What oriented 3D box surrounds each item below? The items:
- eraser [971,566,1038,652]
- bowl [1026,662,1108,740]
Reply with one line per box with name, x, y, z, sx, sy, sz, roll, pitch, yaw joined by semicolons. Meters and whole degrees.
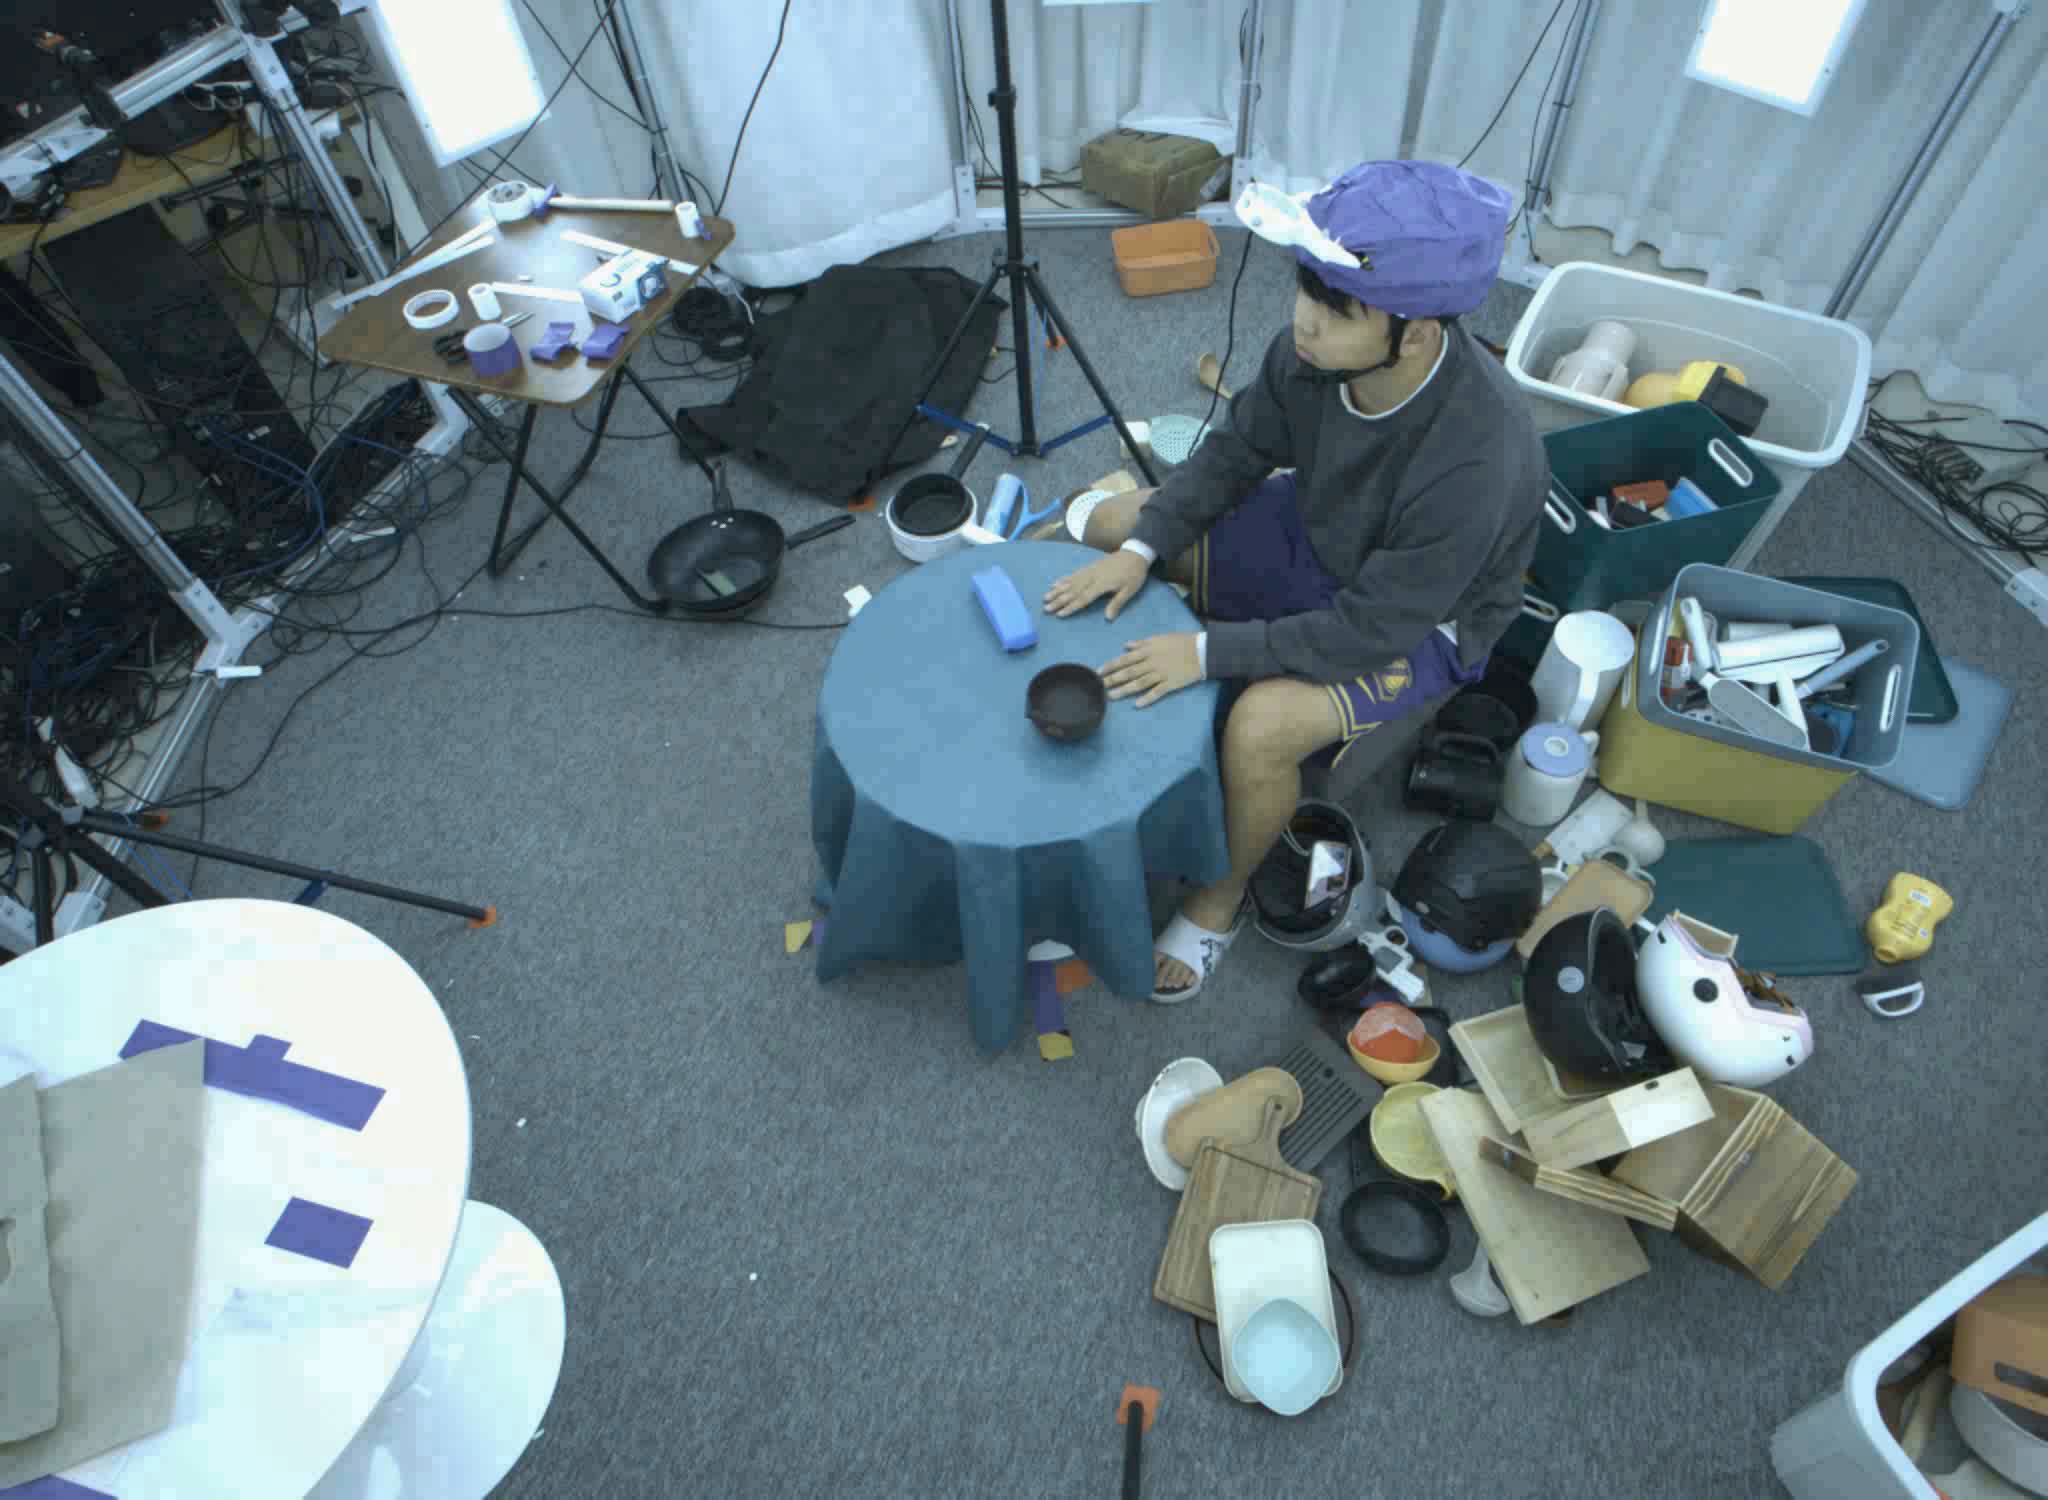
eraser;-0.033;-0.226;1.923;0.054;0.048;0.159;-21;57;-11
bowl;0.063;-0.063;1.787;0.118;0.070;0.117;0;53;2
